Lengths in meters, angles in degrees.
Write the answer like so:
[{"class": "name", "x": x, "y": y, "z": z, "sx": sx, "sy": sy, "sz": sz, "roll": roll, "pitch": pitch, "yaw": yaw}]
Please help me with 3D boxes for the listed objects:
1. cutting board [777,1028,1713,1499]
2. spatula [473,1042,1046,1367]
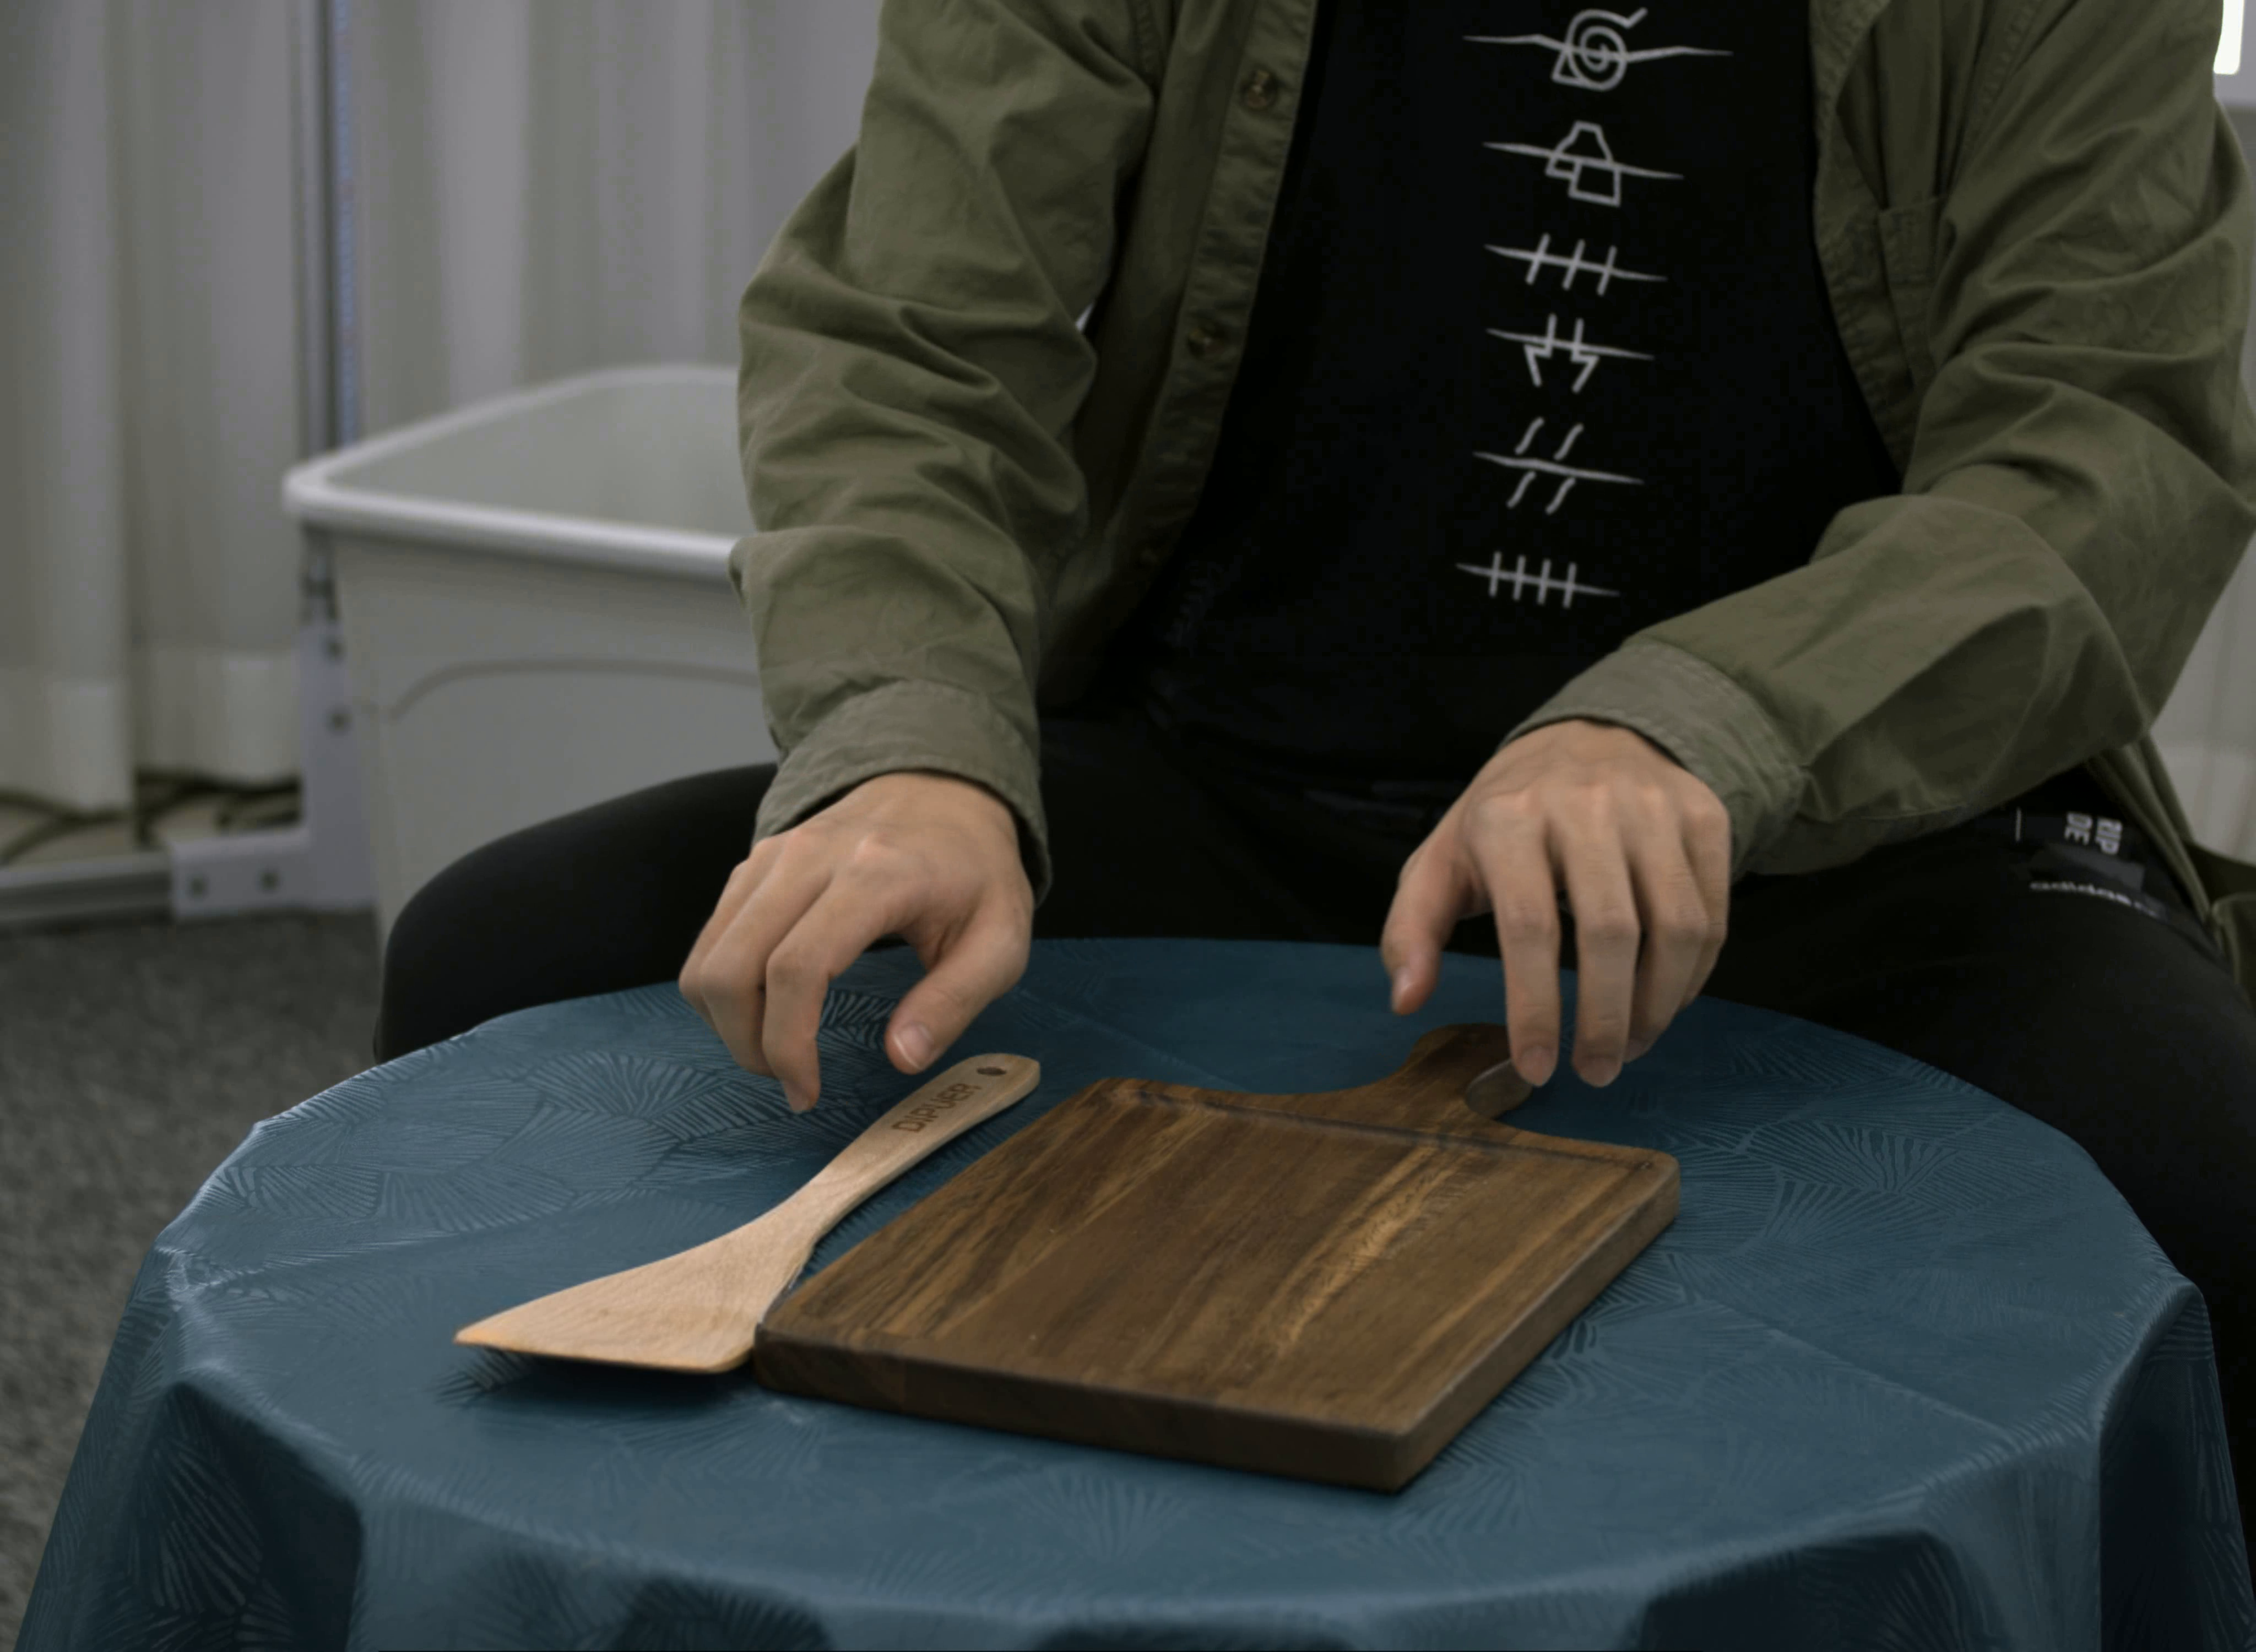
[{"class": "cutting board", "x": 0.061, "y": 0.118, "z": 1.573, "sx": 0.199, "sy": 0.023, "sz": 0.353, "roll": 8, "pitch": 17, "yaw": 23}, {"class": "spatula", "x": -0.092, "y": 0.111, "z": 1.599, "sx": 0.079, "sy": 0.016, "sz": 0.328, "roll": 6, "pitch": 17, "yaw": 20}]
